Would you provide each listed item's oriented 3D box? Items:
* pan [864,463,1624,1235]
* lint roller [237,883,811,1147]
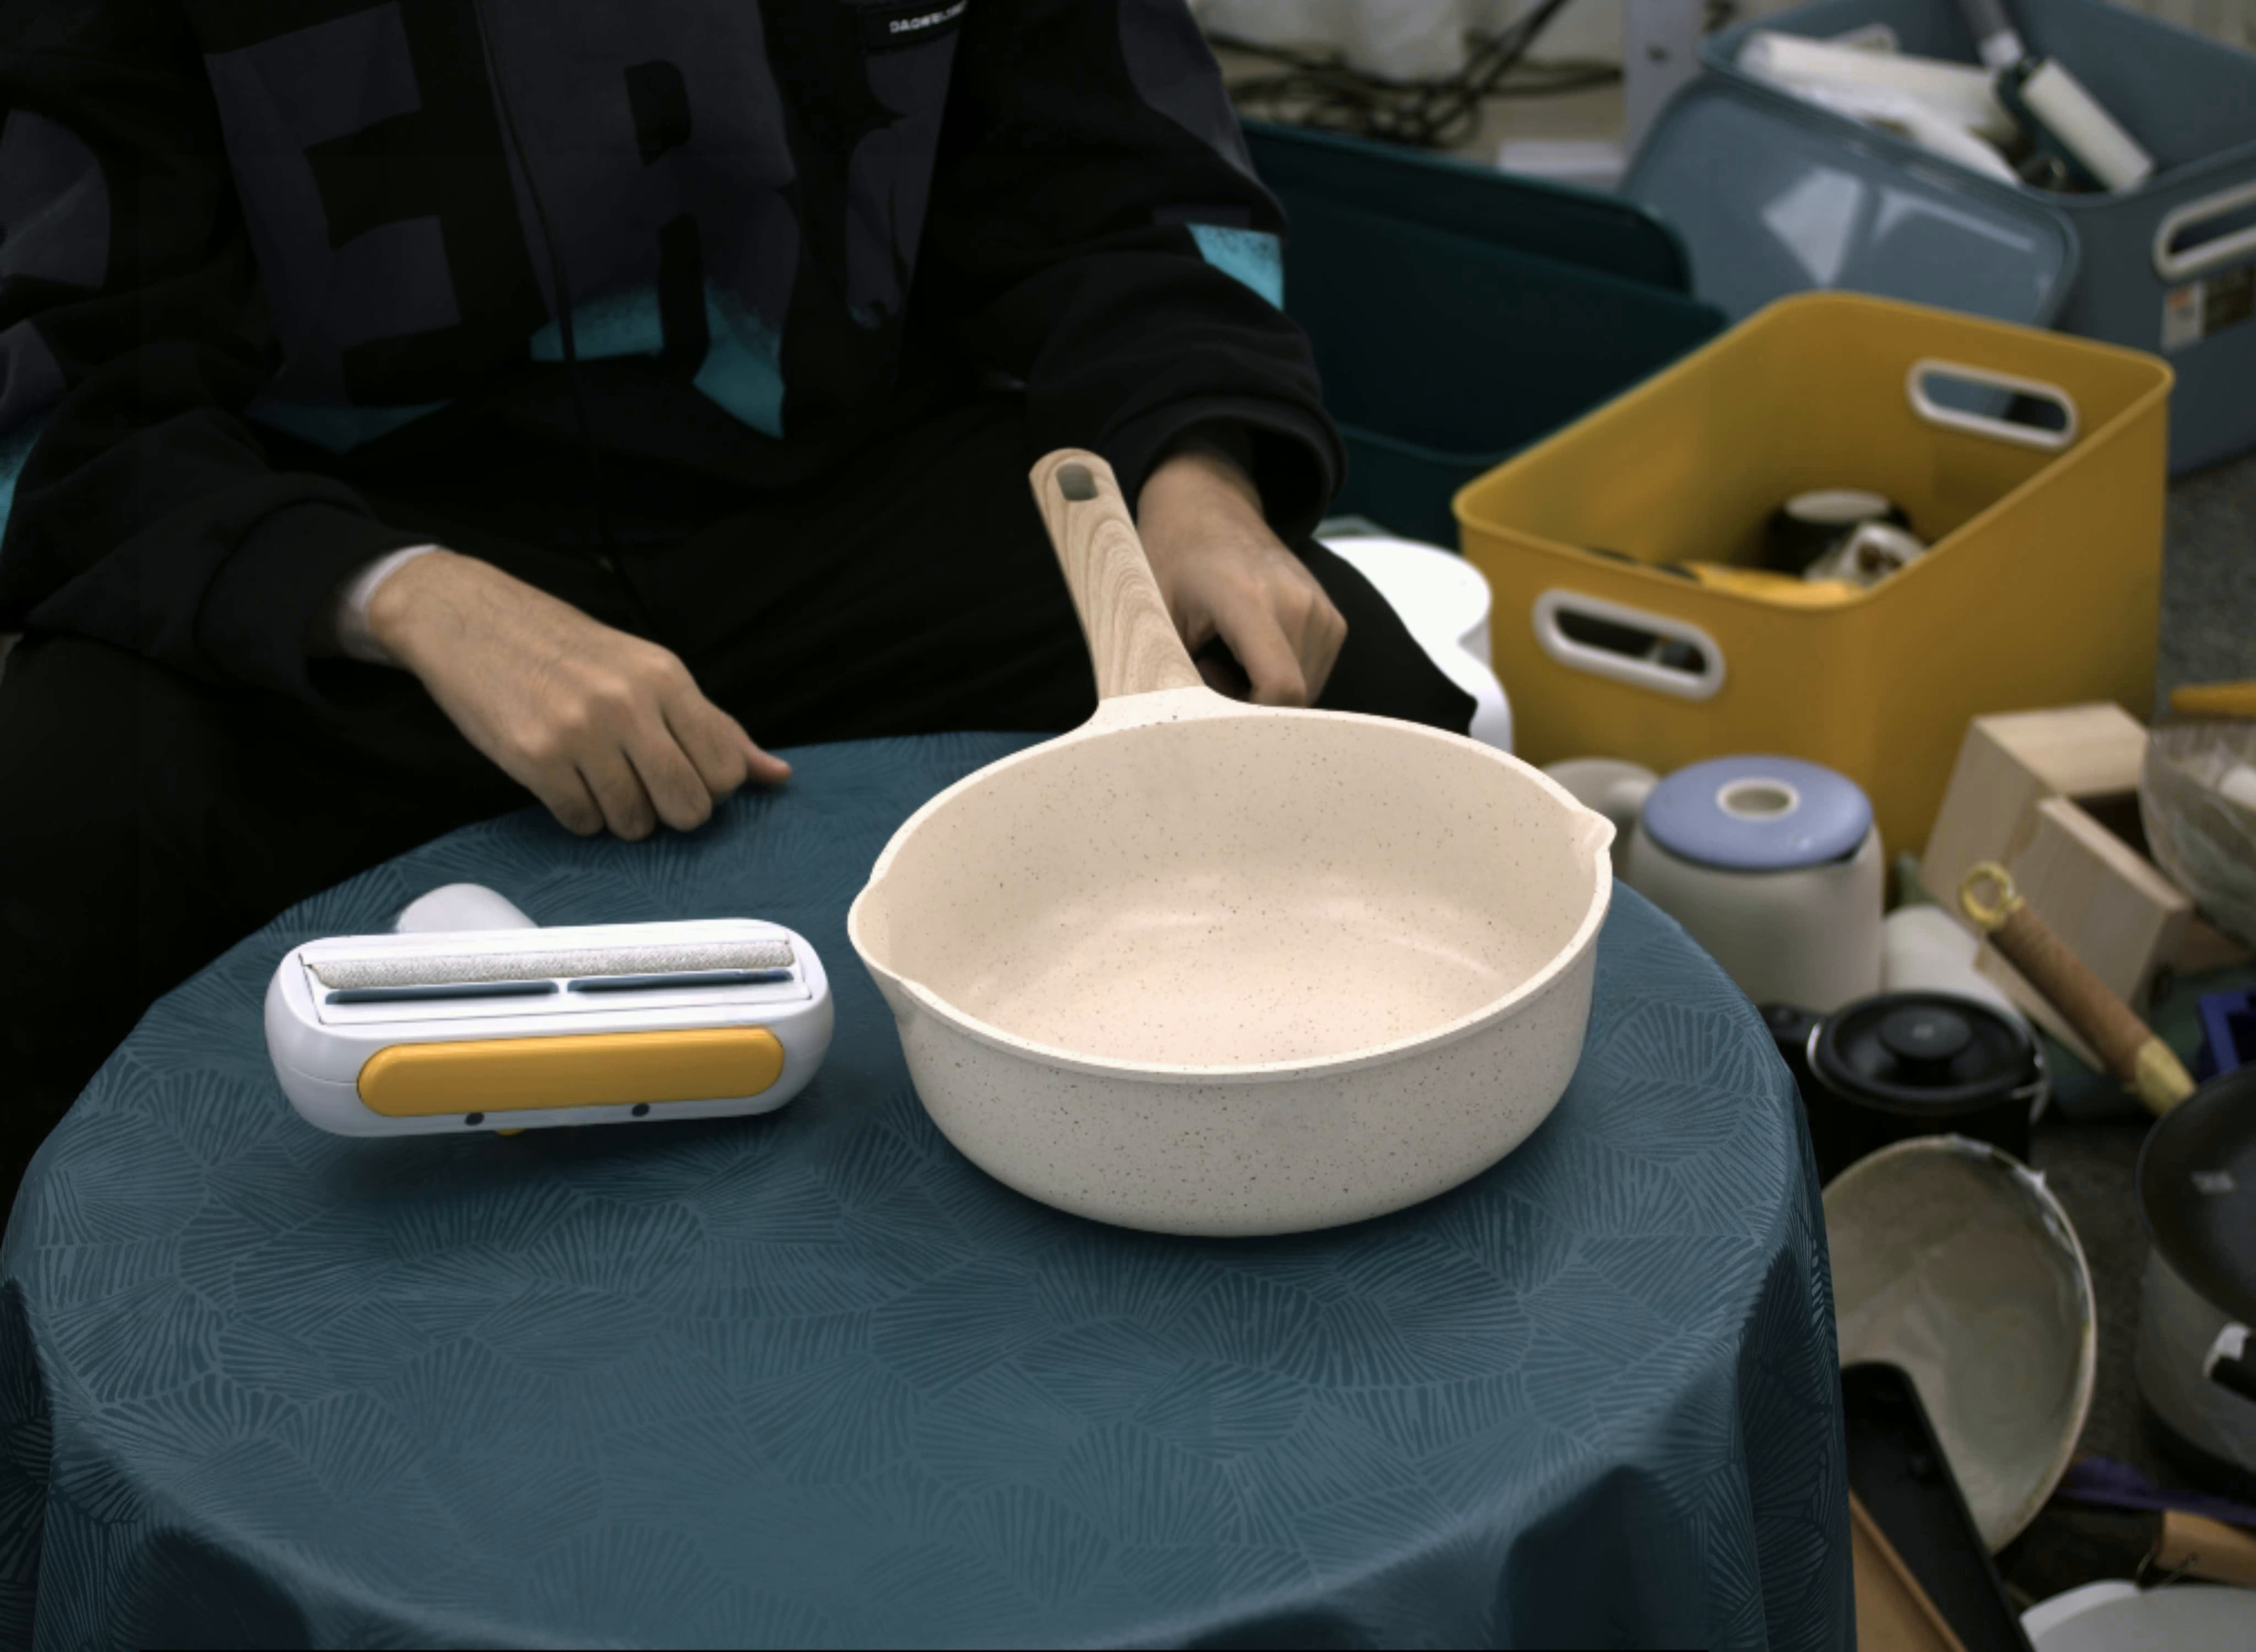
[{"bbox_3d":[0.024,0.004,1.978,0.263,0.101,0.440,-10,28,-8],"label":"pan"},{"bbox_3d":[-0.217,0.052,1.945,0.193,0.073,0.194,-4,25,-15],"label":"lint roller"}]
